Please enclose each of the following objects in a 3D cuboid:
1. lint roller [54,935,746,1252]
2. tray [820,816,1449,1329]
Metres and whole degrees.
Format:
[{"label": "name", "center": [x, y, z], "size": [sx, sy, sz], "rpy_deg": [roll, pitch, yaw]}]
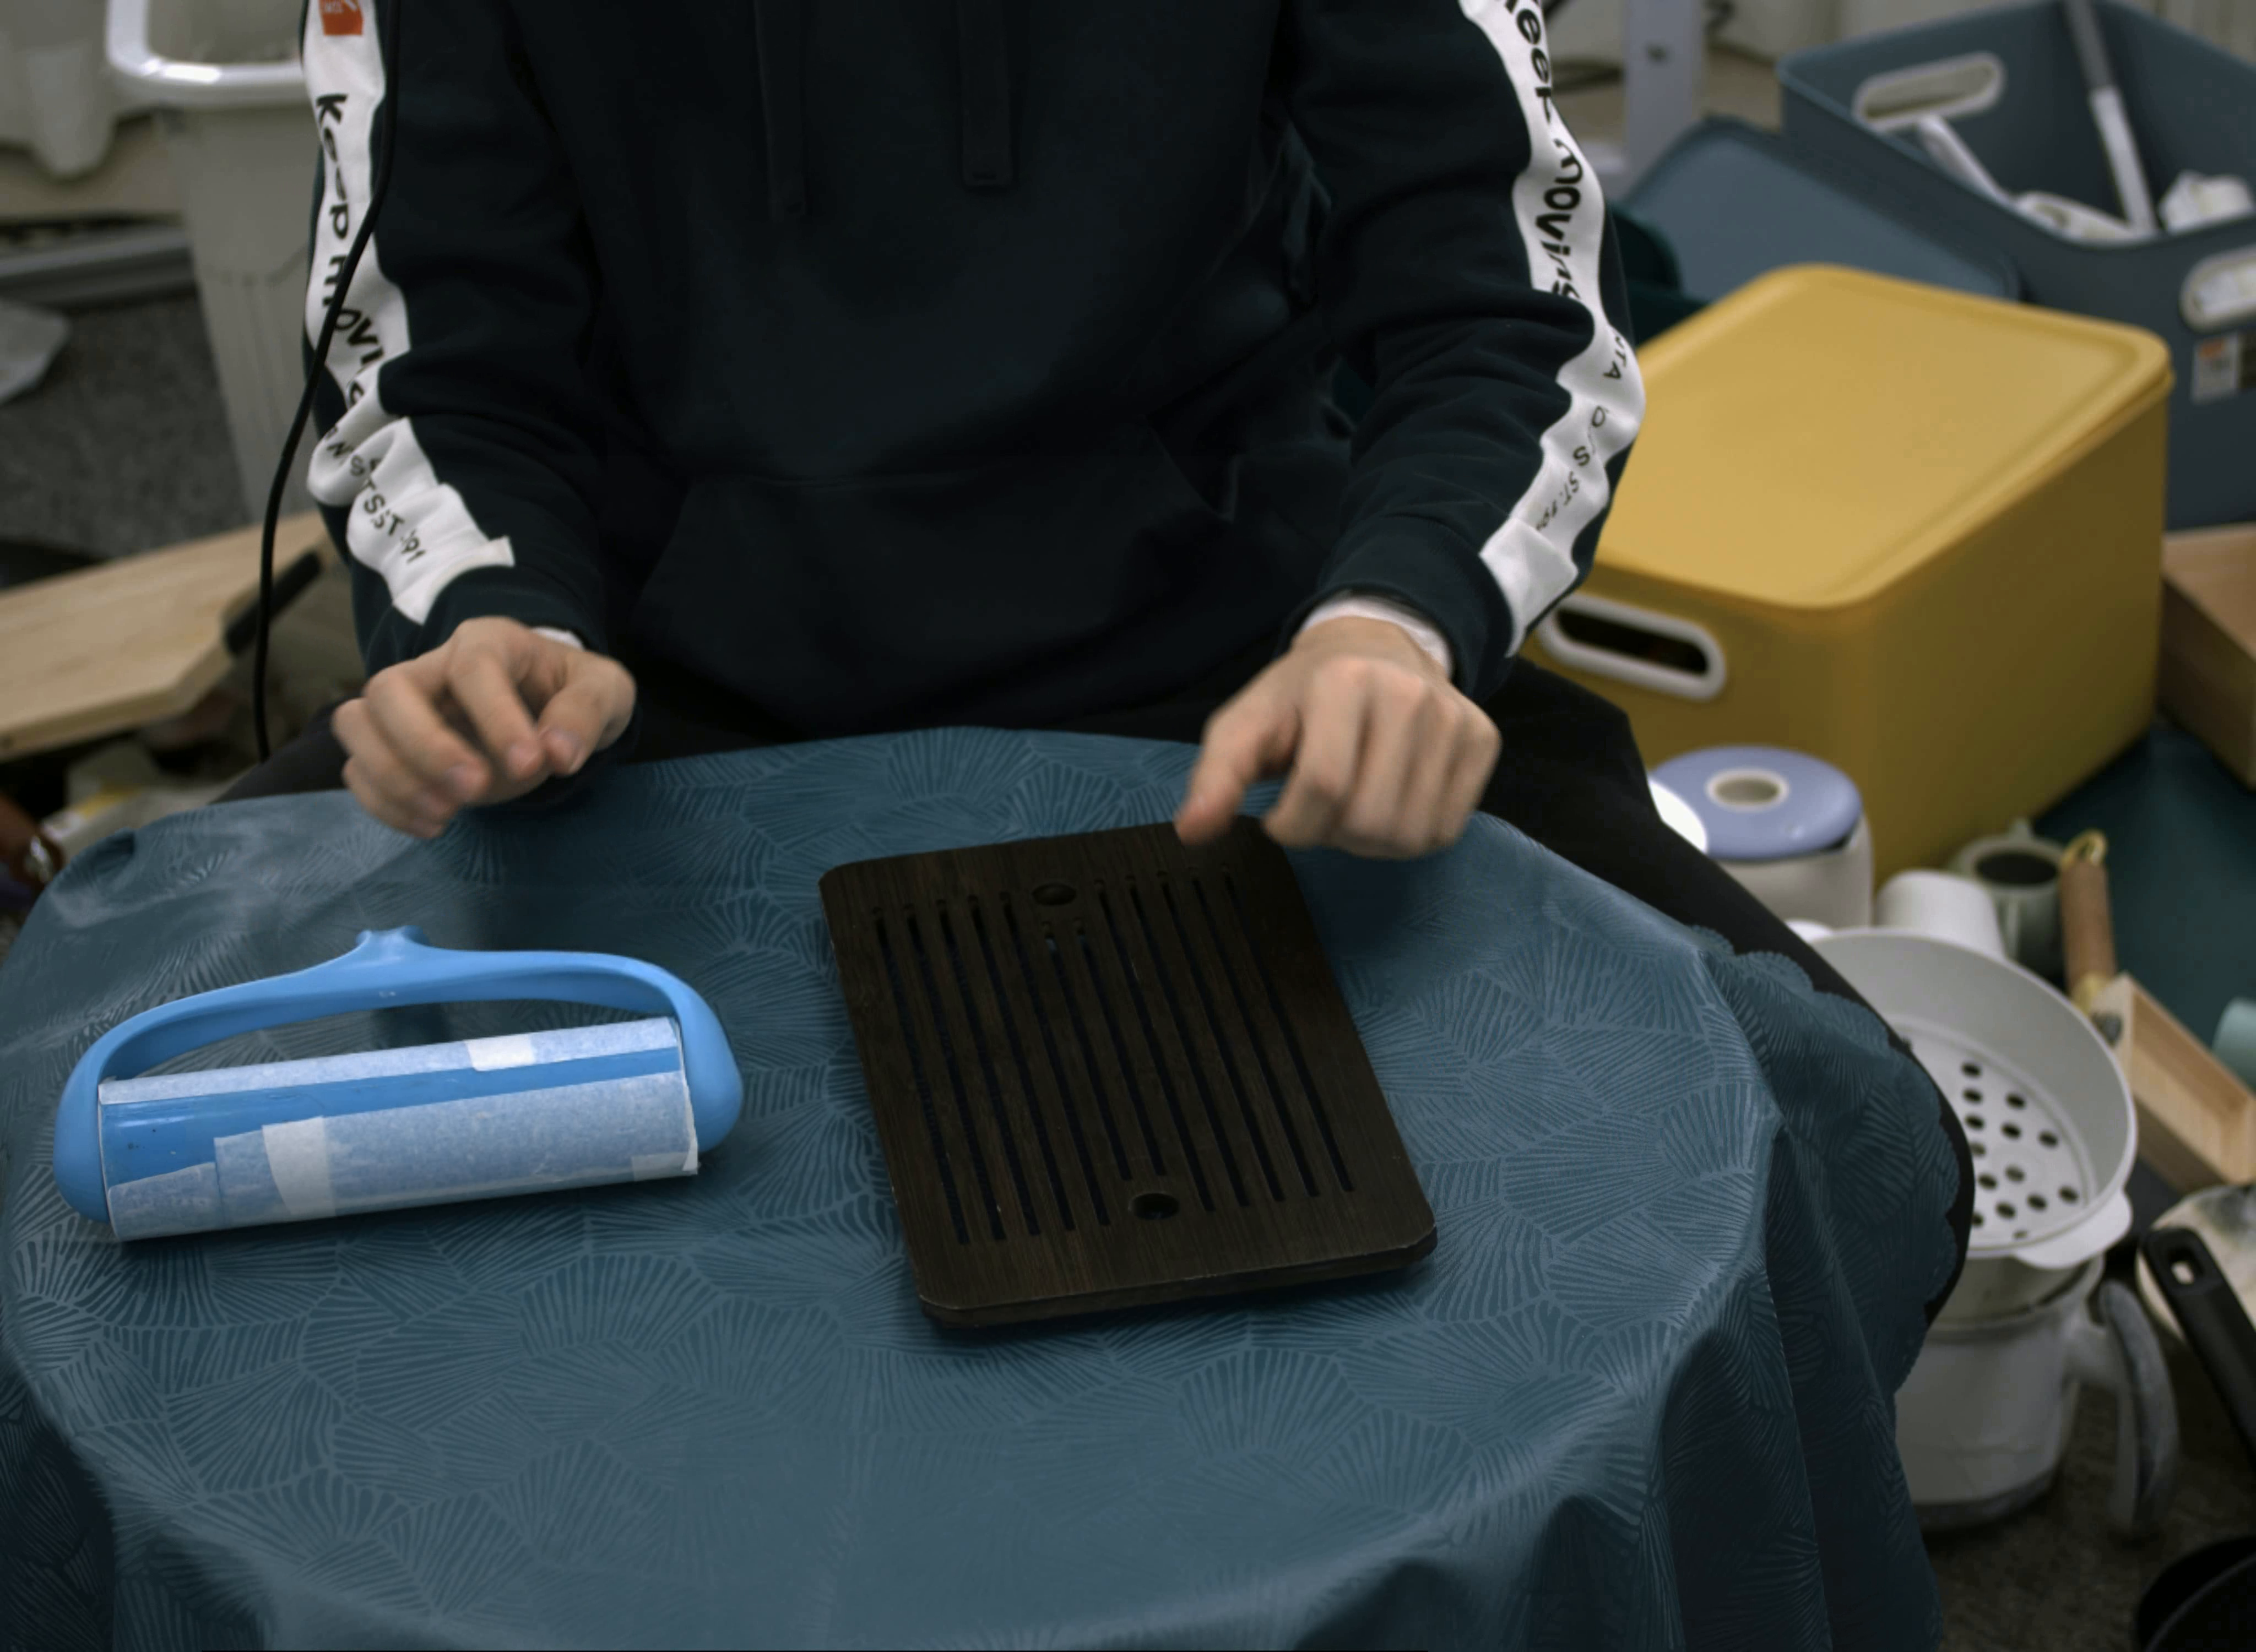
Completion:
[{"label": "lint roller", "center": [-0.252, 0.073, 1.916], "size": [0.228, 0.067, 0.182], "rpy_deg": [-9, 30, -8]}, {"label": "tray", "center": [-0.004, 0.081, 1.919], "size": [0.170, 0.018, 0.310], "rpy_deg": [-7, 28, -7]}]
